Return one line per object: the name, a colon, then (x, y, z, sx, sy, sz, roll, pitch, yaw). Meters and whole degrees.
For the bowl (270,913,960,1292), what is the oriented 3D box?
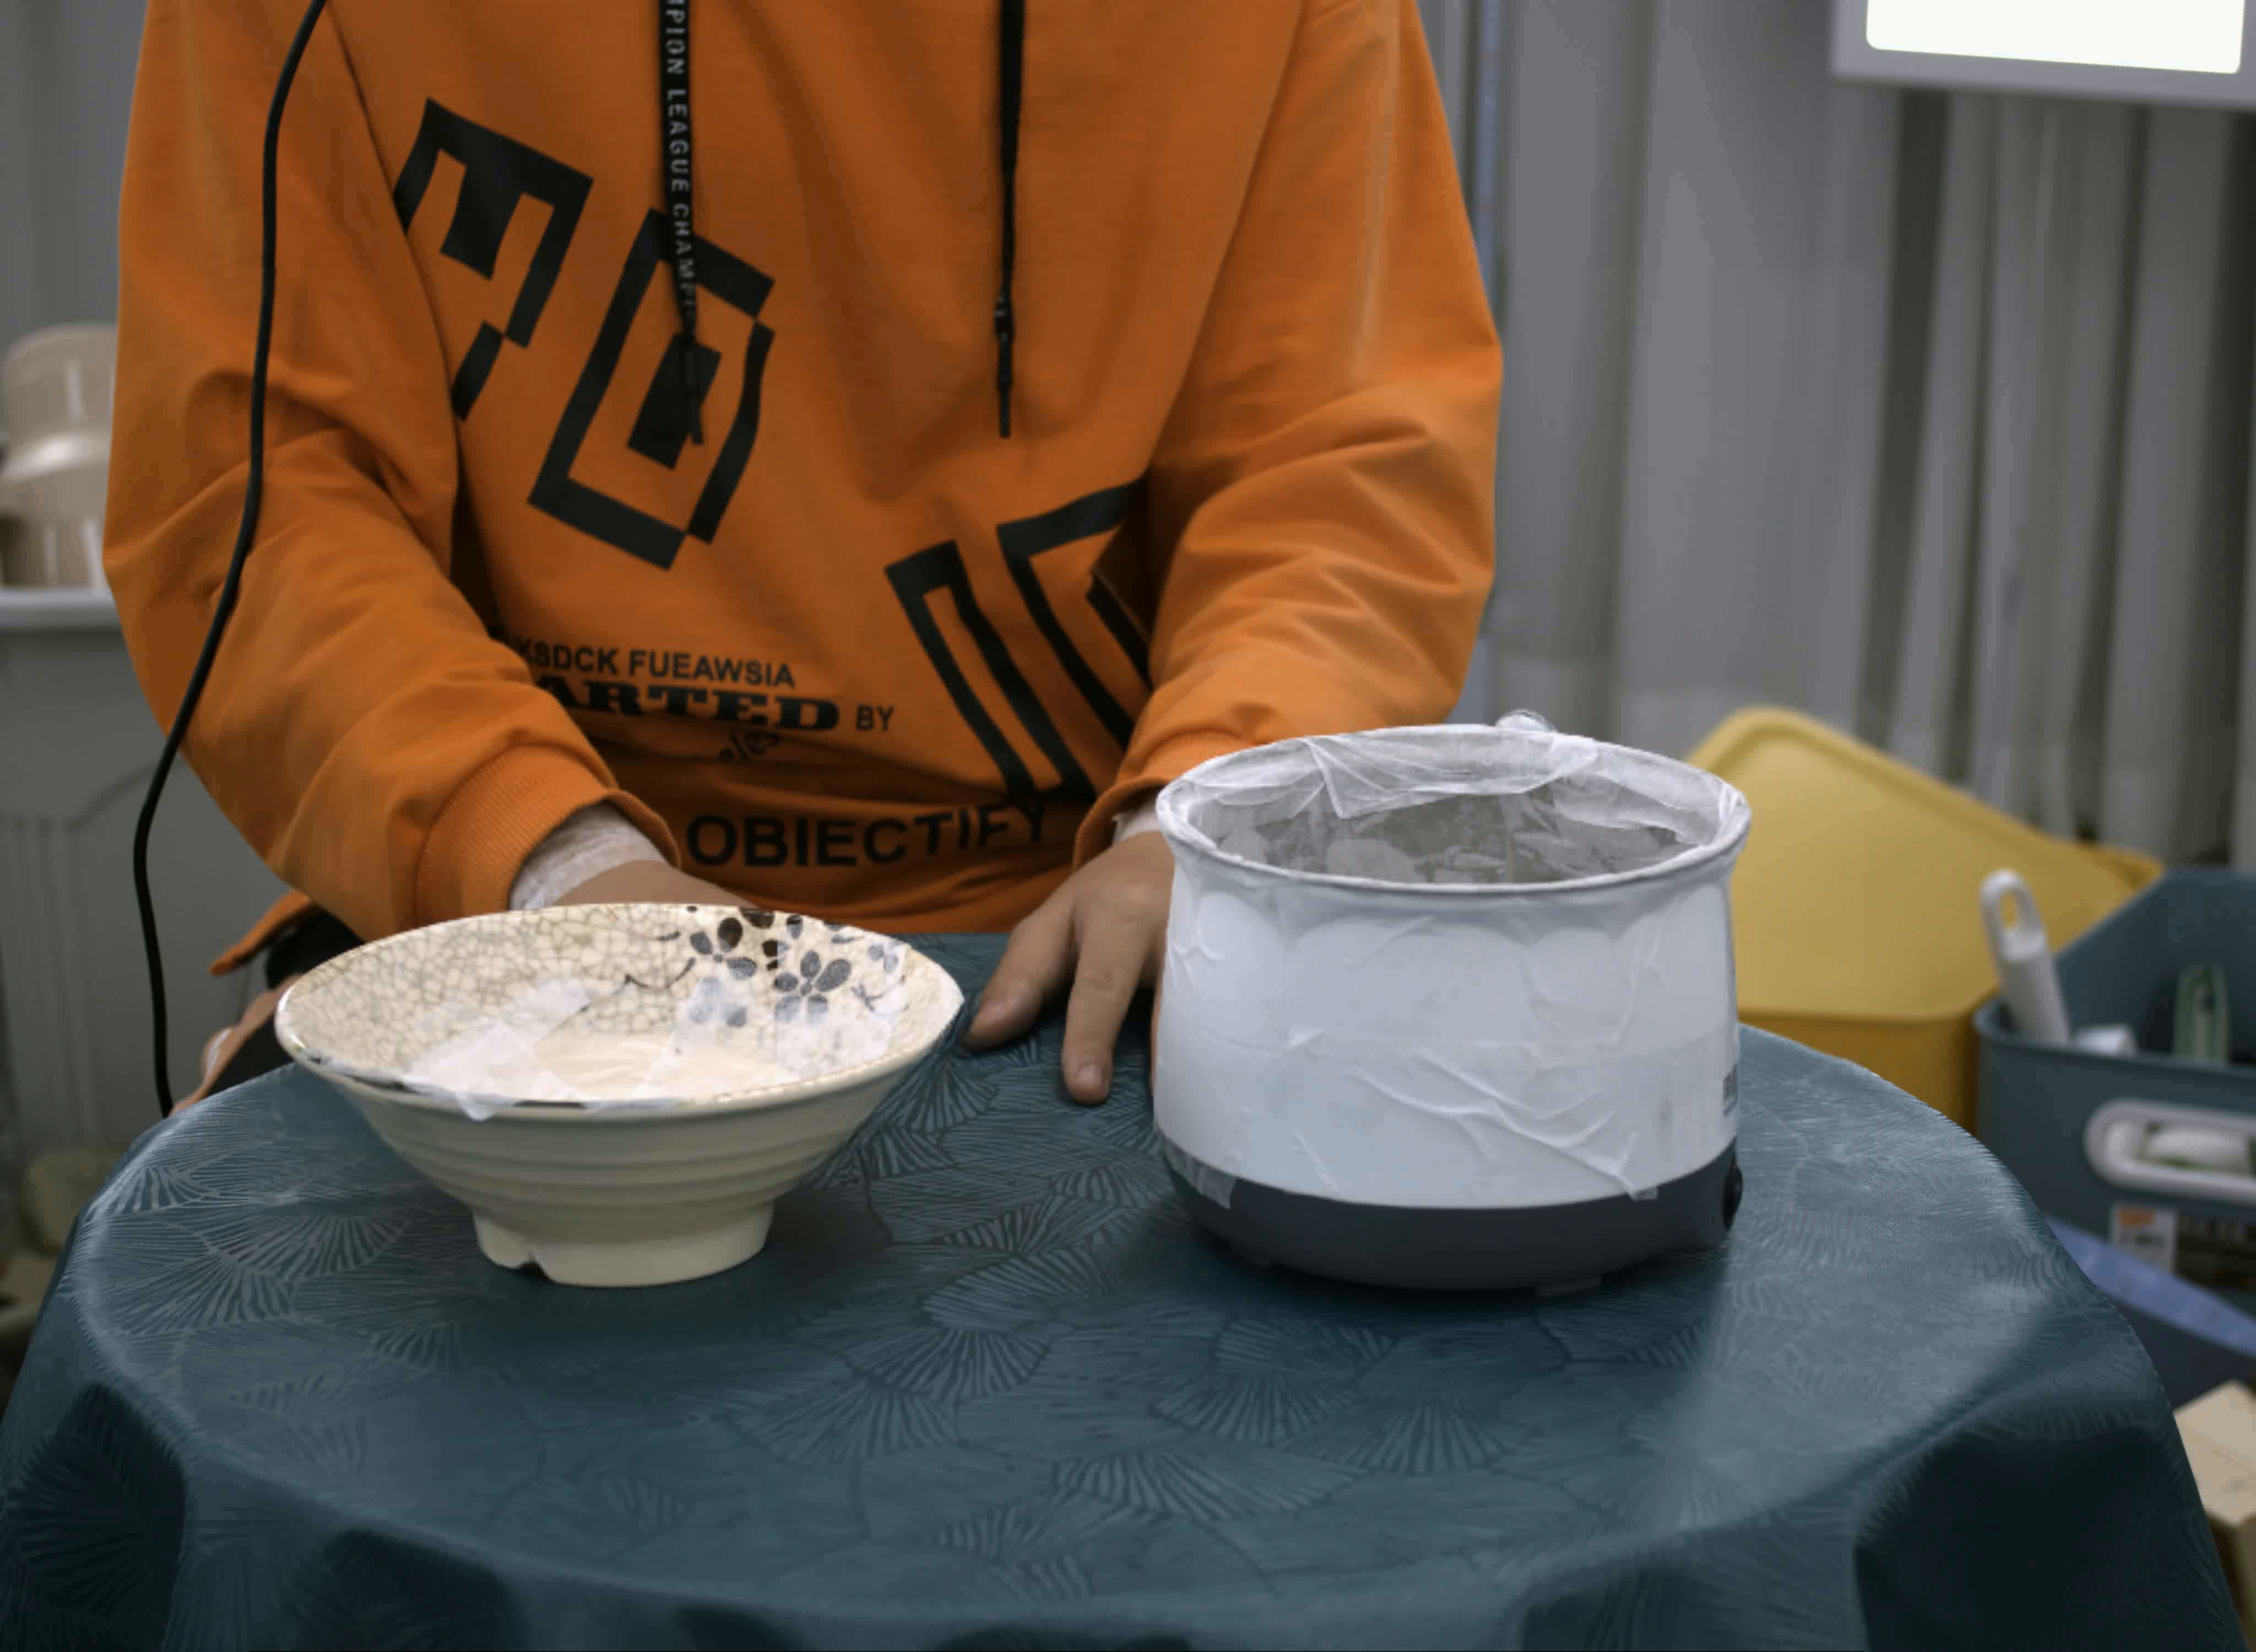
bowl: (-0.151, 0.088, 1.565, 0.203, 0.078, 0.203, 0, 14, 1)

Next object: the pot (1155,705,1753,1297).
pot: (0.103, 0.047, 1.603, 0.177, 0.138, 0.233, 5, 17, 13)
